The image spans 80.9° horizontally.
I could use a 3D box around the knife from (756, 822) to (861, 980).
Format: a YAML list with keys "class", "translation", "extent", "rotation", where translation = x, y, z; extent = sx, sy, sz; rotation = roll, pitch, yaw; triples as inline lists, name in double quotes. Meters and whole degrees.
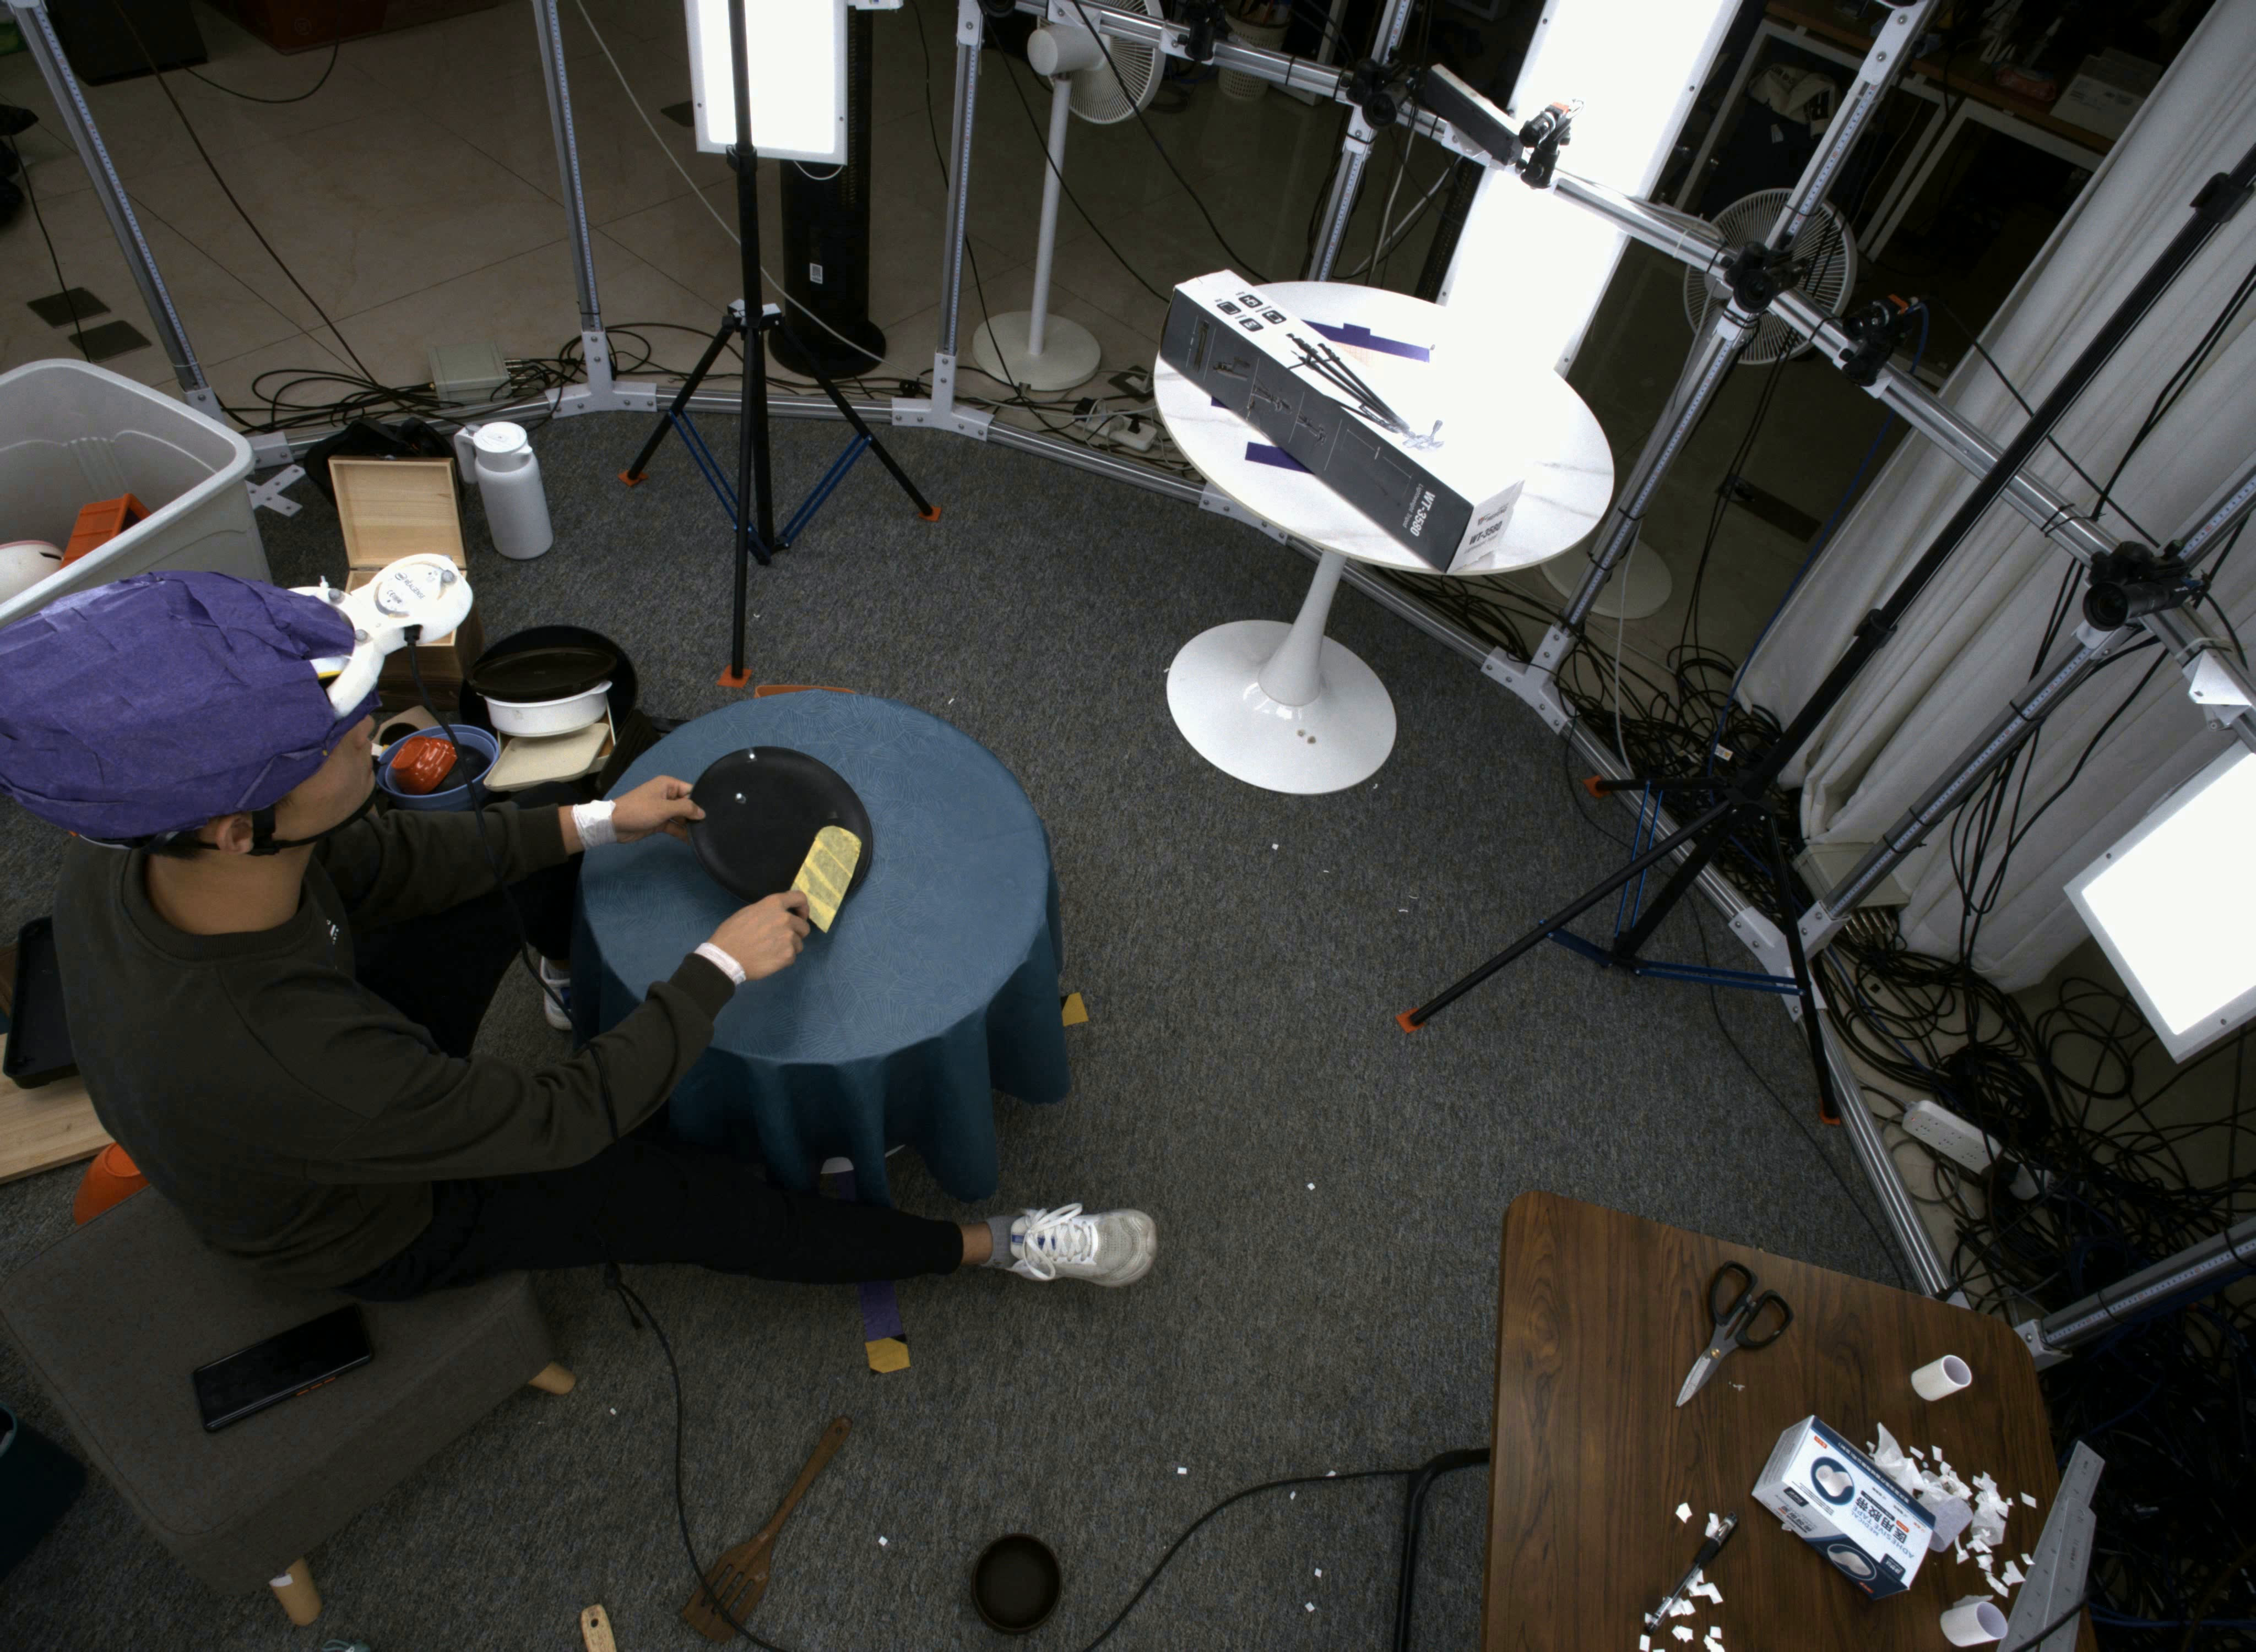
- class: "knife"
  translation: [-0.389, 0.090, 1.602]
  extent: [0.083, 0.027, 0.285]
  rotation: [53, 31, -26]

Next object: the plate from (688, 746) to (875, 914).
- class: "plate"
  translation: [-0.447, 0.006, 1.672]
  extent: [0.249, 0.023, 0.240]
  rotation: [19, 54, -25]
